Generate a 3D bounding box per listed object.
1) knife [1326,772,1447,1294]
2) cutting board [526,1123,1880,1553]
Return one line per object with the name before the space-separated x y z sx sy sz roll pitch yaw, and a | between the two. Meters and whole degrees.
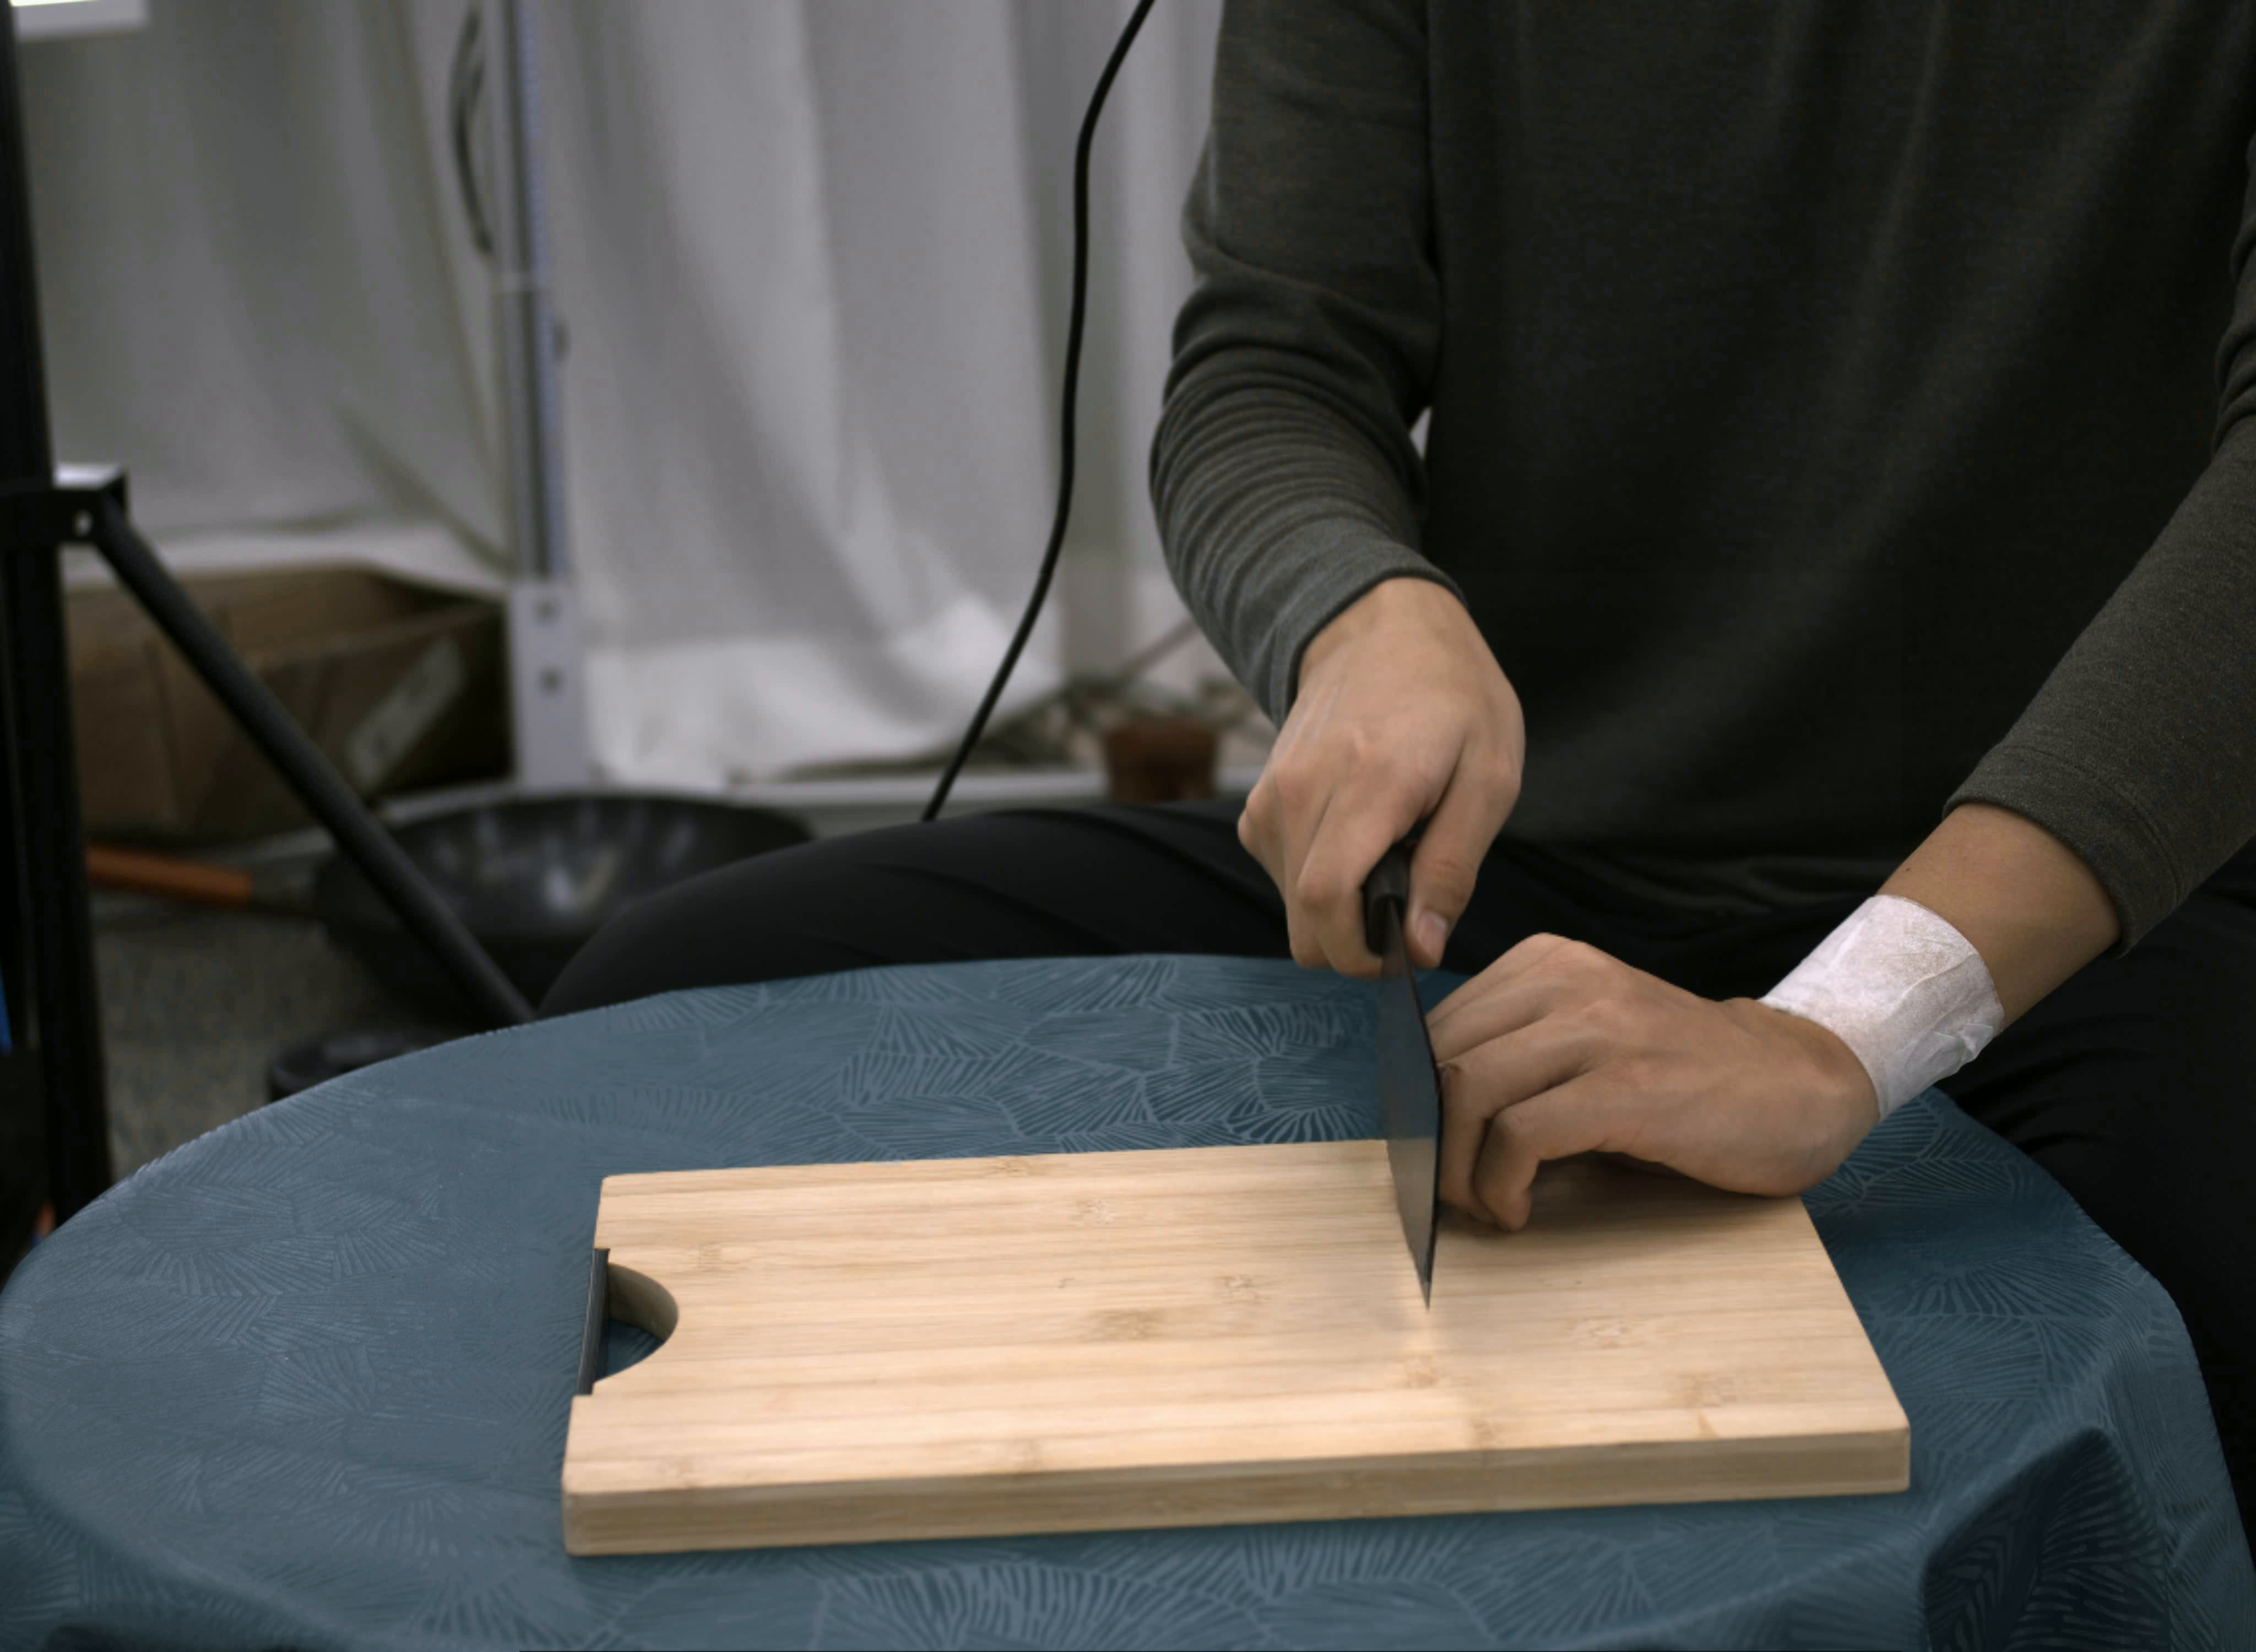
knife | 0.075 0.050 1.510 0.021 0.081 0.304 3 21 -3
cutting board | 0.017 0.135 1.434 0.346 0.023 0.252 -3 15 -1
